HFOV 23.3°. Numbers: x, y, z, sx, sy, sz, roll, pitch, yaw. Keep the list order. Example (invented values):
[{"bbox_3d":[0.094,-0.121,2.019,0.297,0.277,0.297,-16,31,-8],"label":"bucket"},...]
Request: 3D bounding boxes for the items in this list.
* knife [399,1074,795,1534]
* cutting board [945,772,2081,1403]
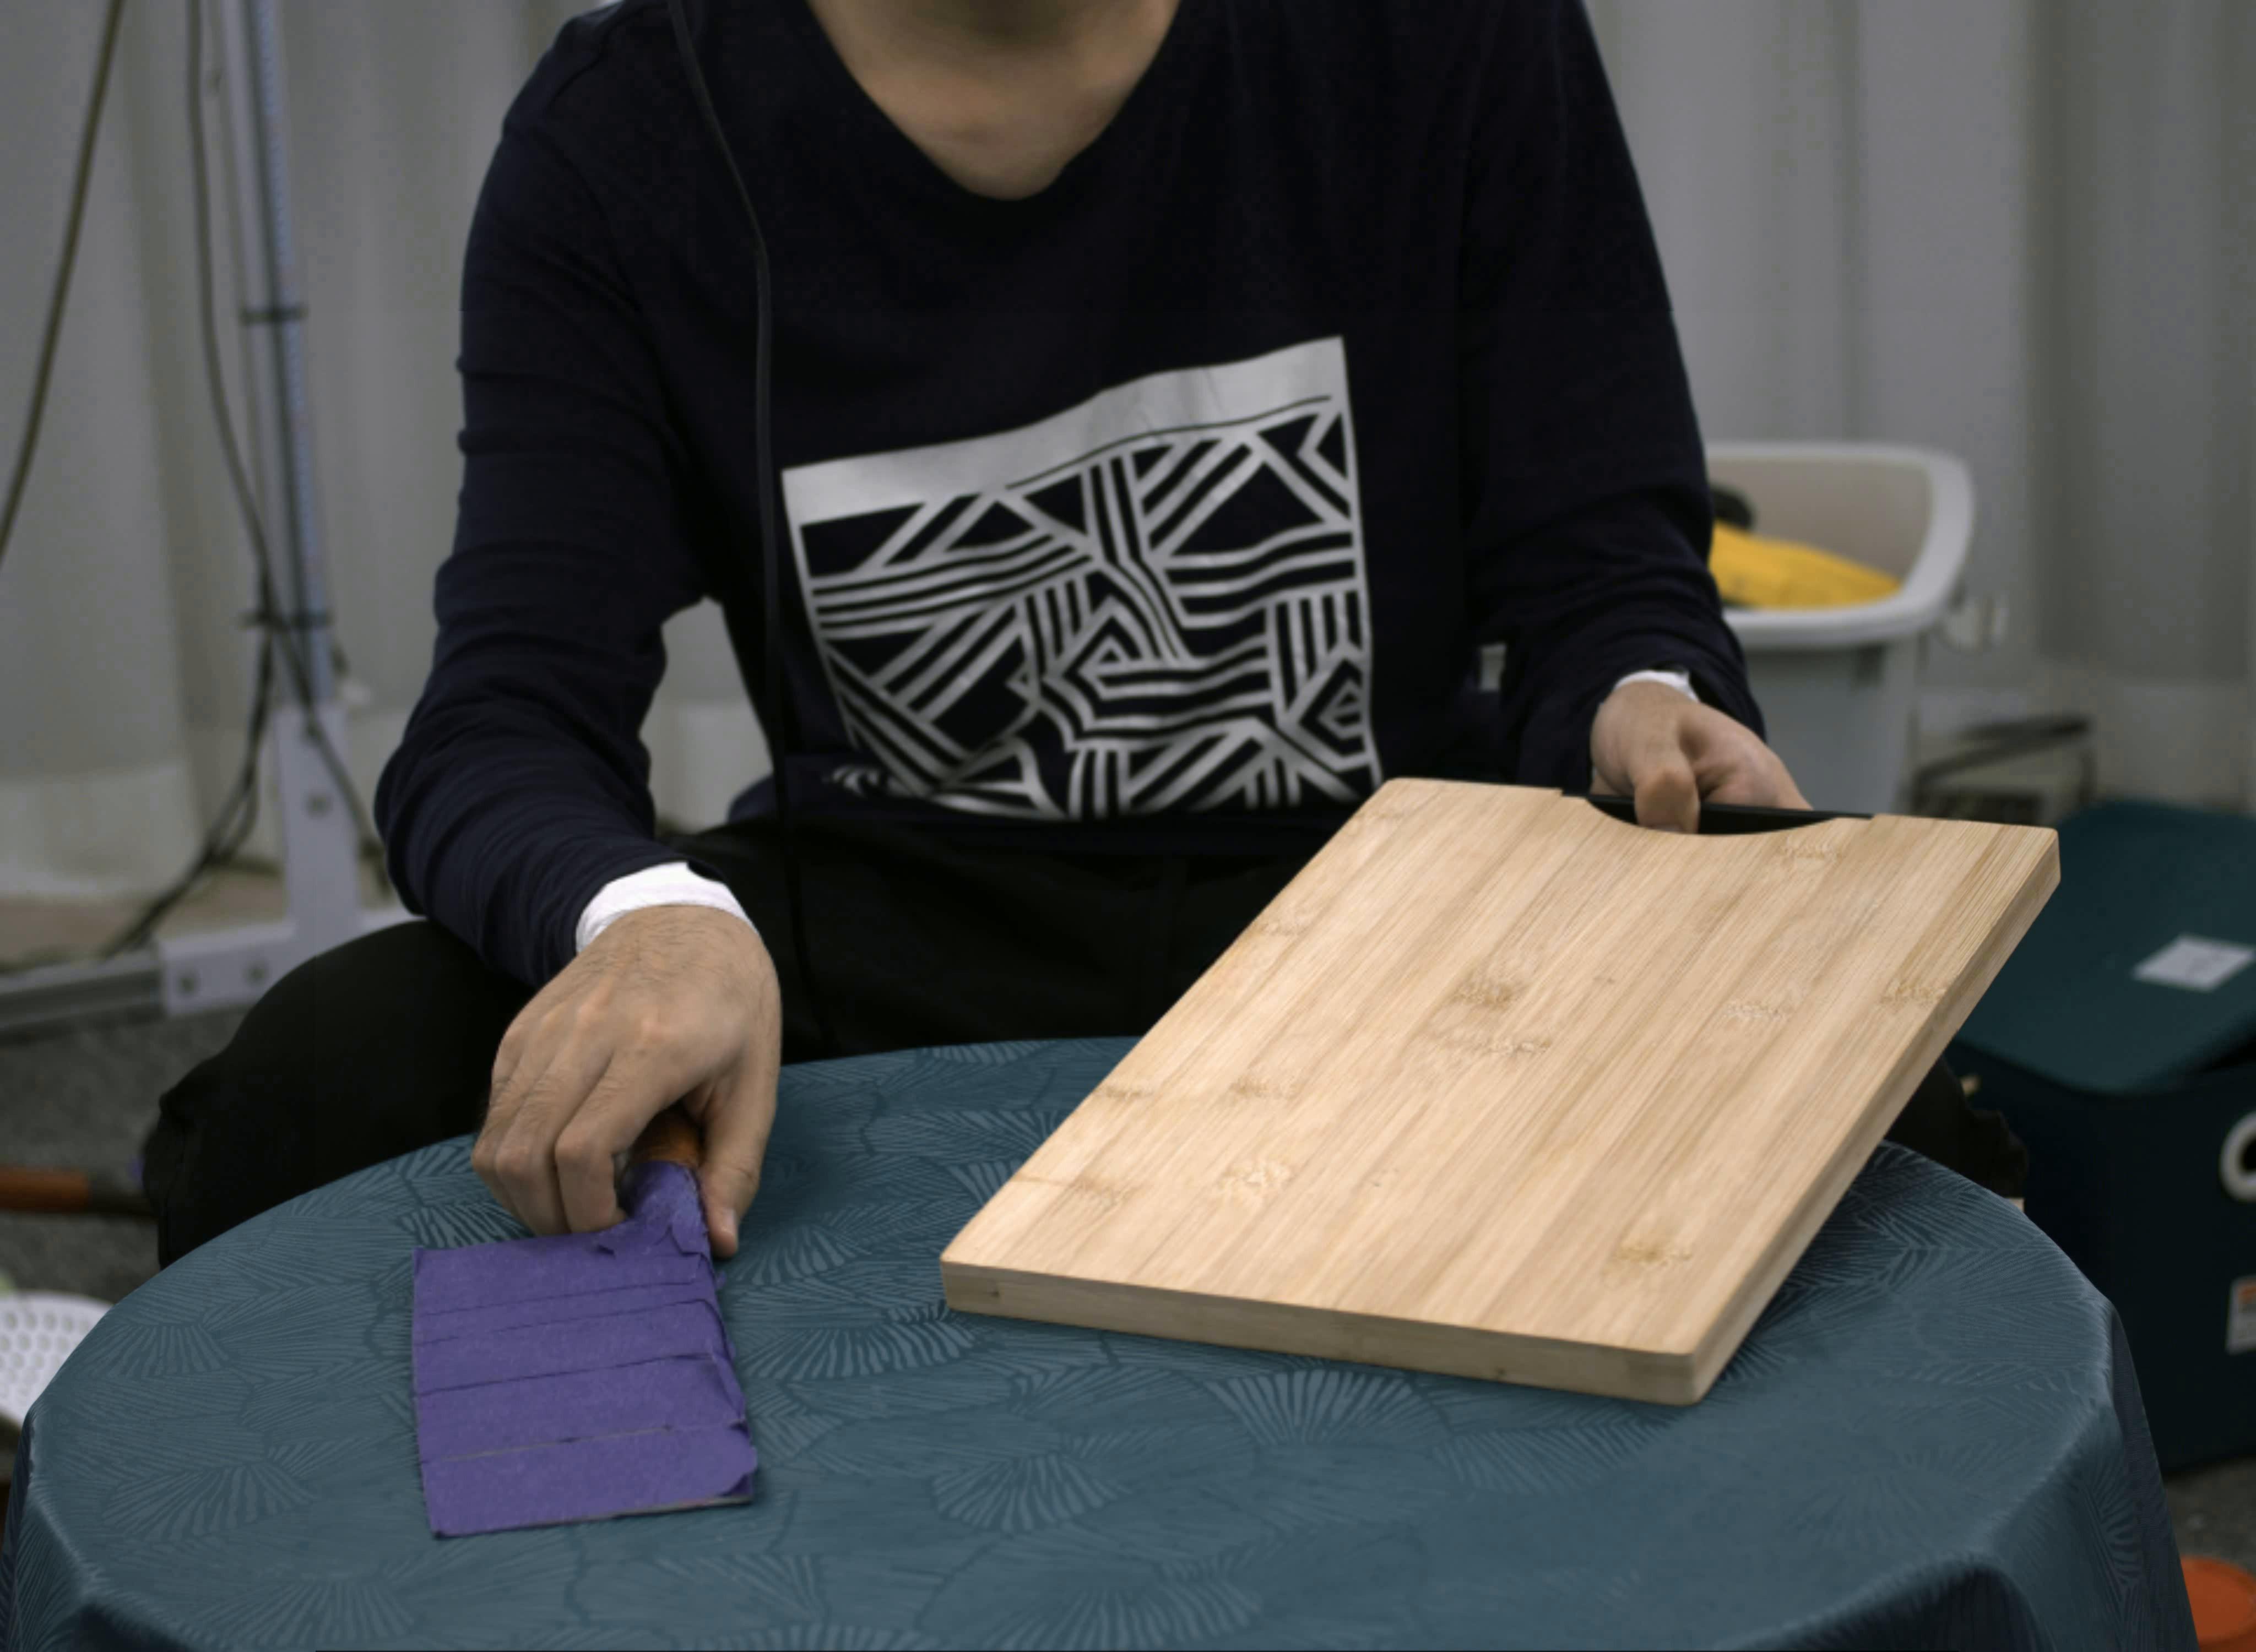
[{"bbox_3d":[-0.164,0.137,1.613,0.103,0.032,0.318,-6,15,-8],"label":"knife"},{"bbox_3d":[0.127,0.071,1.701,0.251,0.023,0.351,4,27,26],"label":"cutting board"}]
